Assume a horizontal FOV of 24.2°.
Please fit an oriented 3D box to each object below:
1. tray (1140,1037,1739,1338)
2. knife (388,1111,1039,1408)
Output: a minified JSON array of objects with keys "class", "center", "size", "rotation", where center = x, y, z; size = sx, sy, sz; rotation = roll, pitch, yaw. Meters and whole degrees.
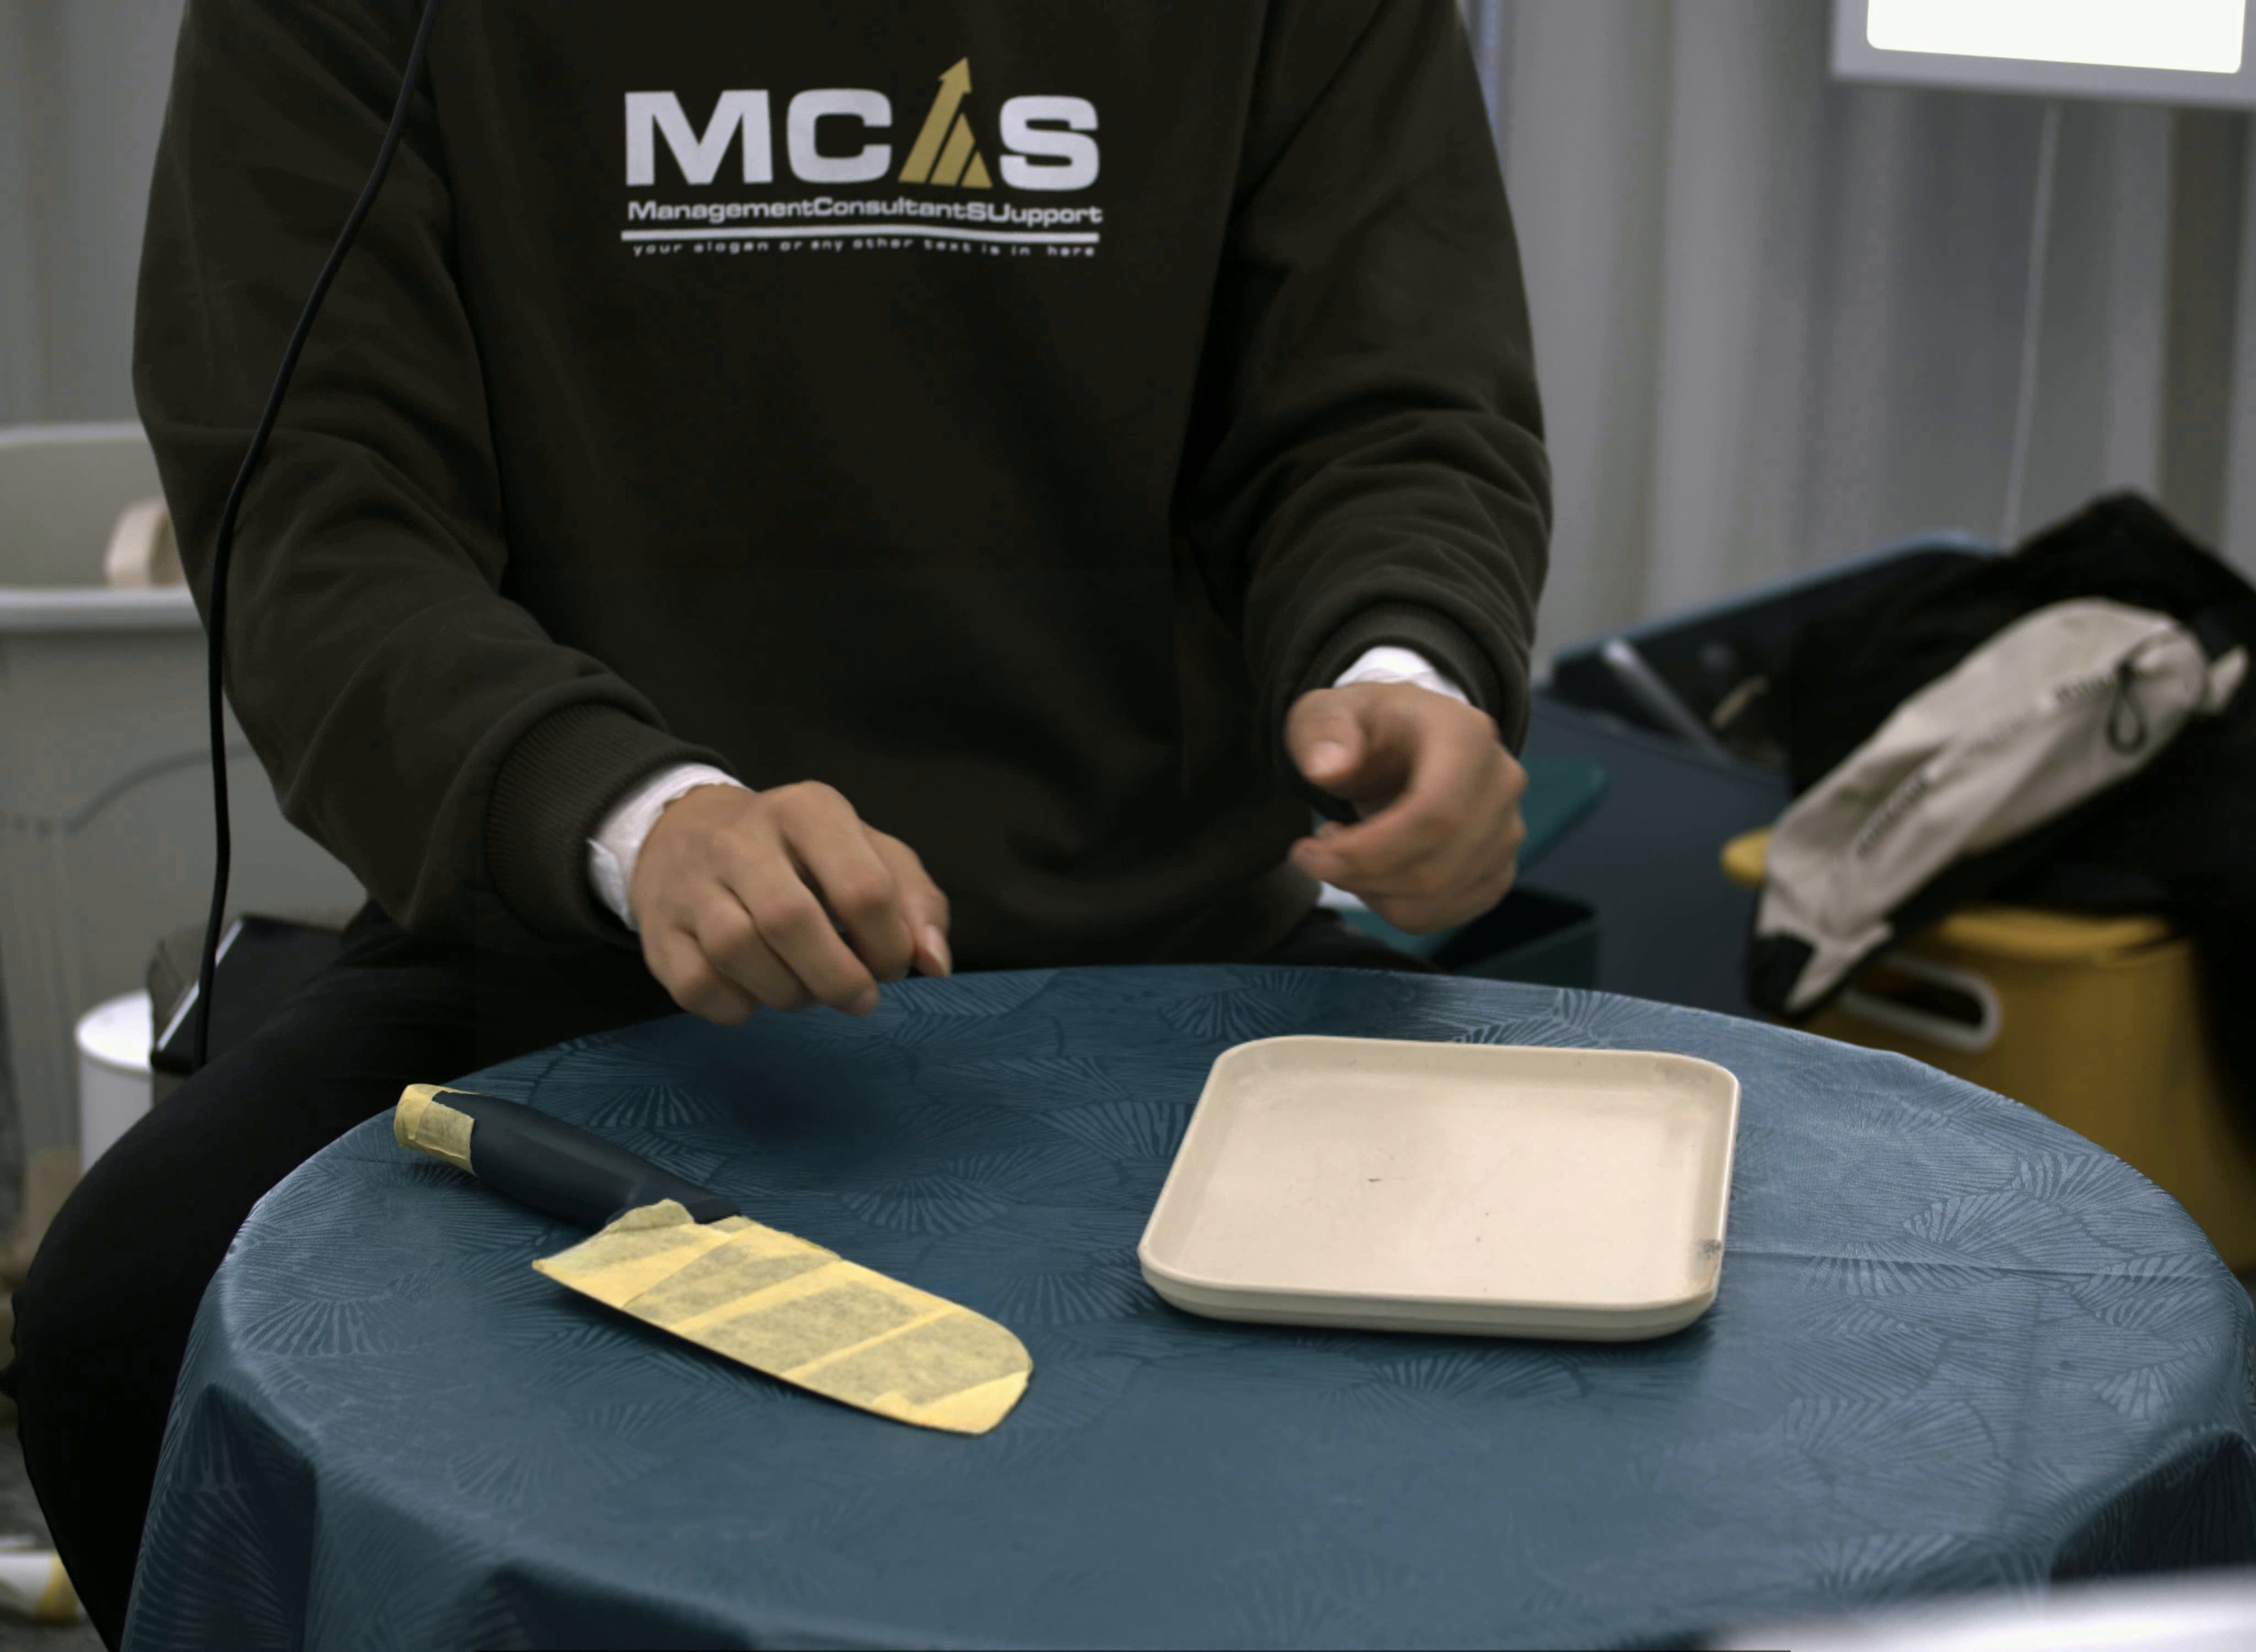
[{"class":"tray","center":[0.099,0.109,1.607],"size":[0.170,0.017,0.239],"rotation":[2,15,8]},{"class":"knife","center":[-0.132,0.128,1.536],"size":[0.081,0.027,0.285],"rotation":[-12,21,-43]}]
